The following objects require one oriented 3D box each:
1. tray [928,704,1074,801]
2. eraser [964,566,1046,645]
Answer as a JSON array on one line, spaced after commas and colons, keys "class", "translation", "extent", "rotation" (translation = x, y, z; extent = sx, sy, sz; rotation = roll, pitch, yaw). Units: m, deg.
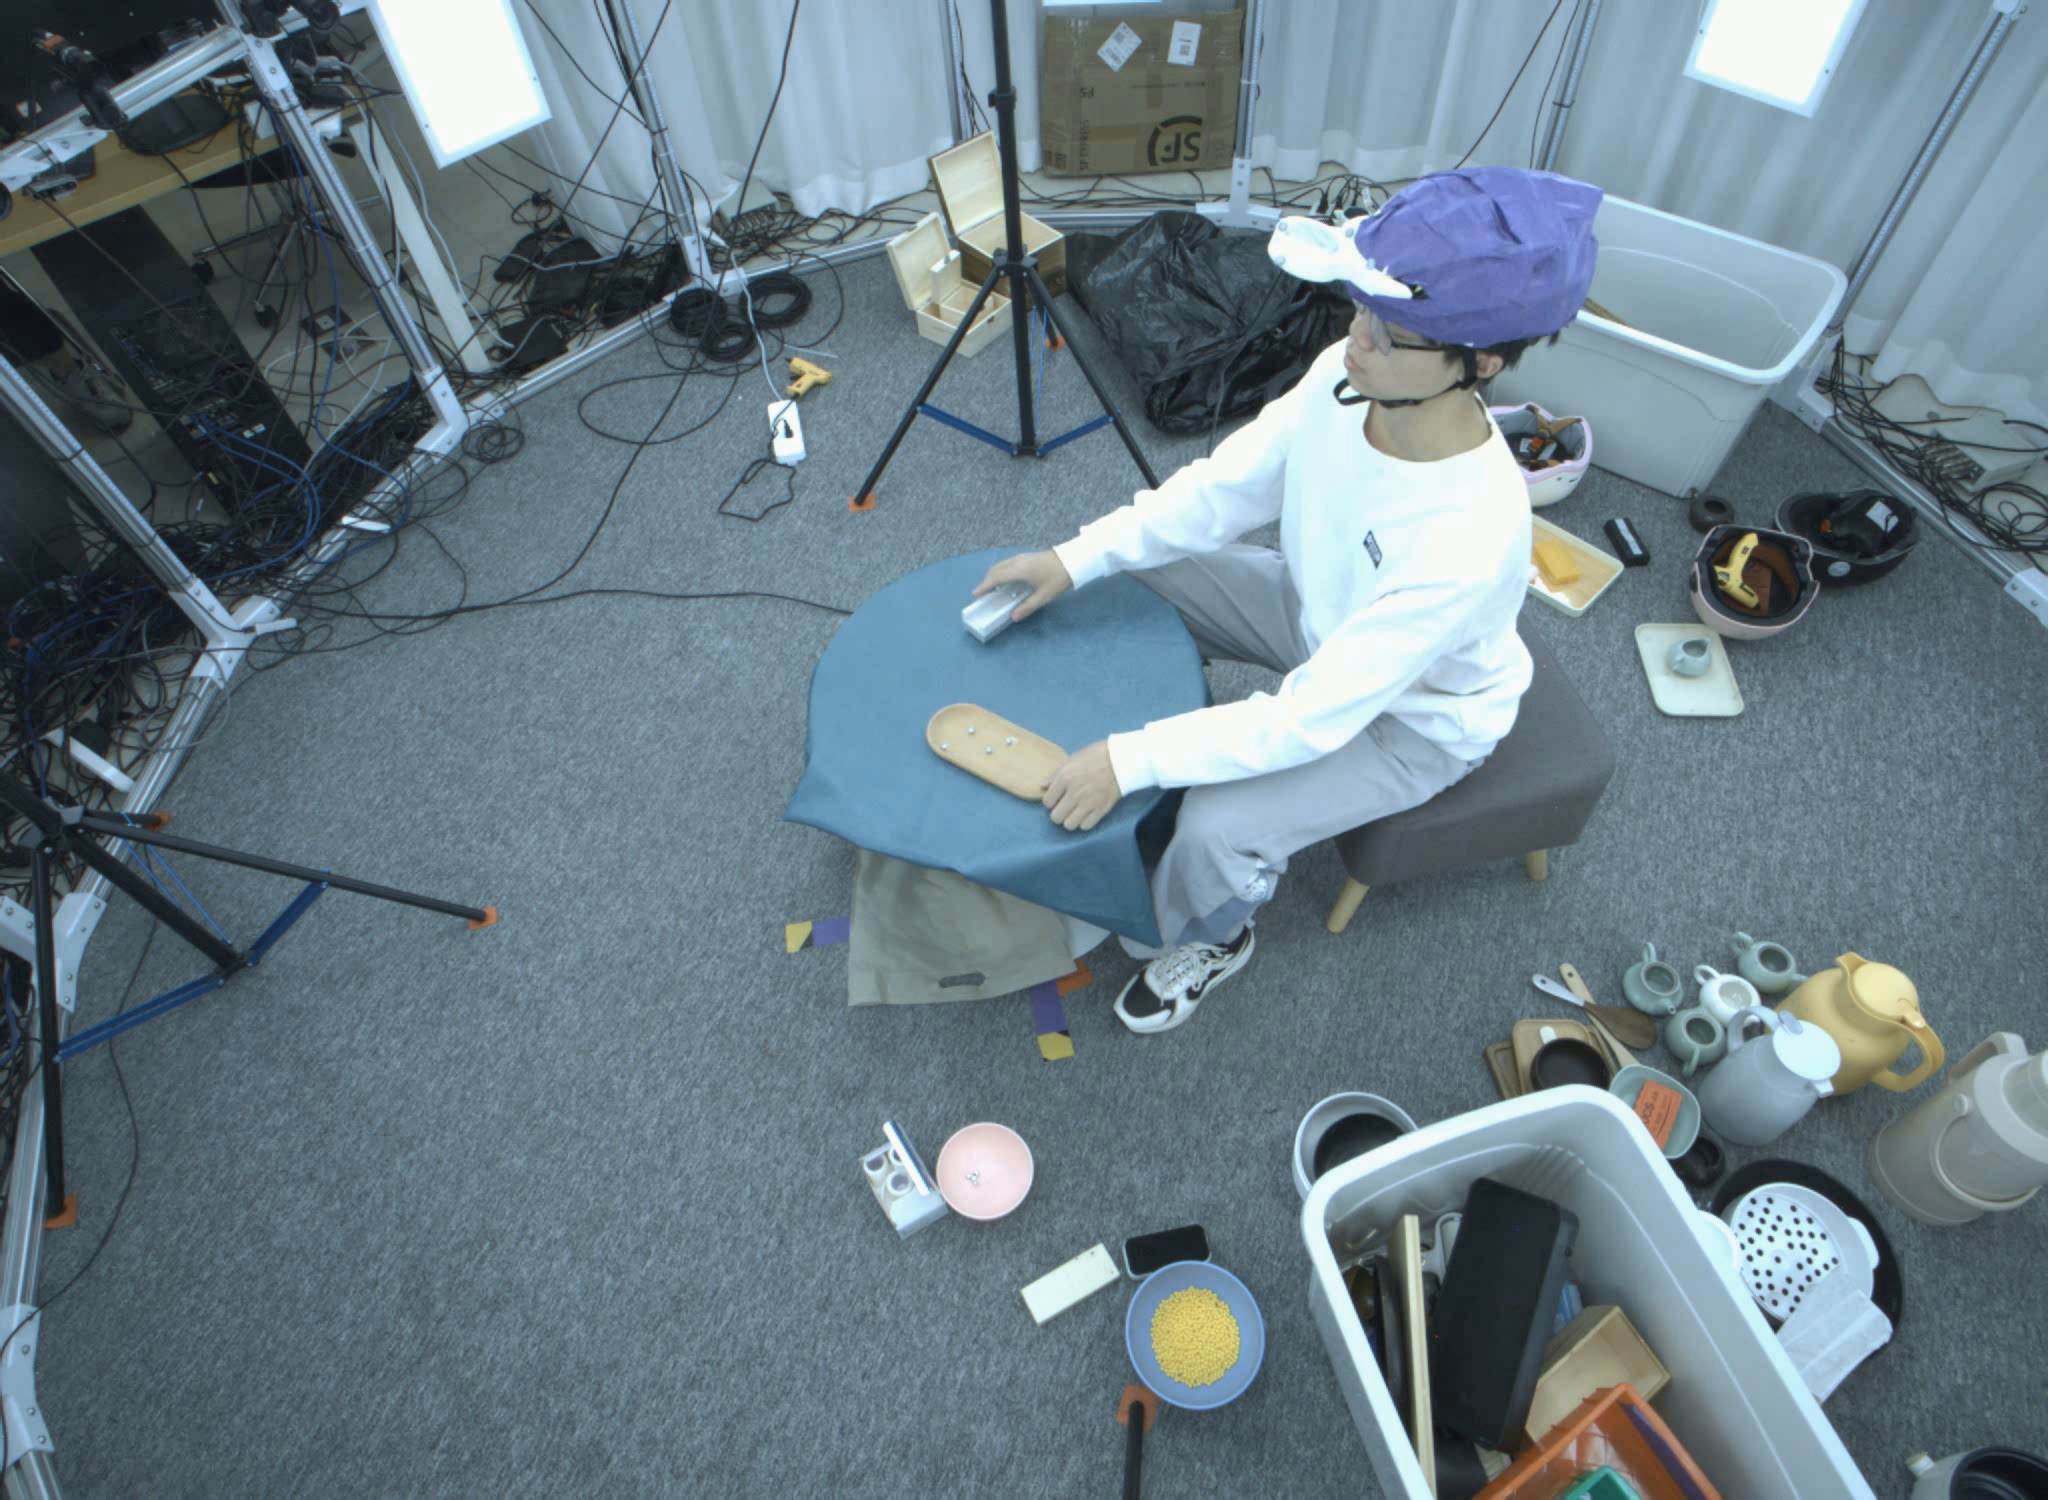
[{"class": "tray", "translation": [-0.035, 0.002, 1.774], "extent": [0.228, 0.020, 0.102], "rotation": [27, 60, 17]}, {"class": "eraser", "translation": [-0.029, -0.226, 1.917], "extent": [0.049, 0.047, 0.135], "rotation": [39, 65, 19]}]
